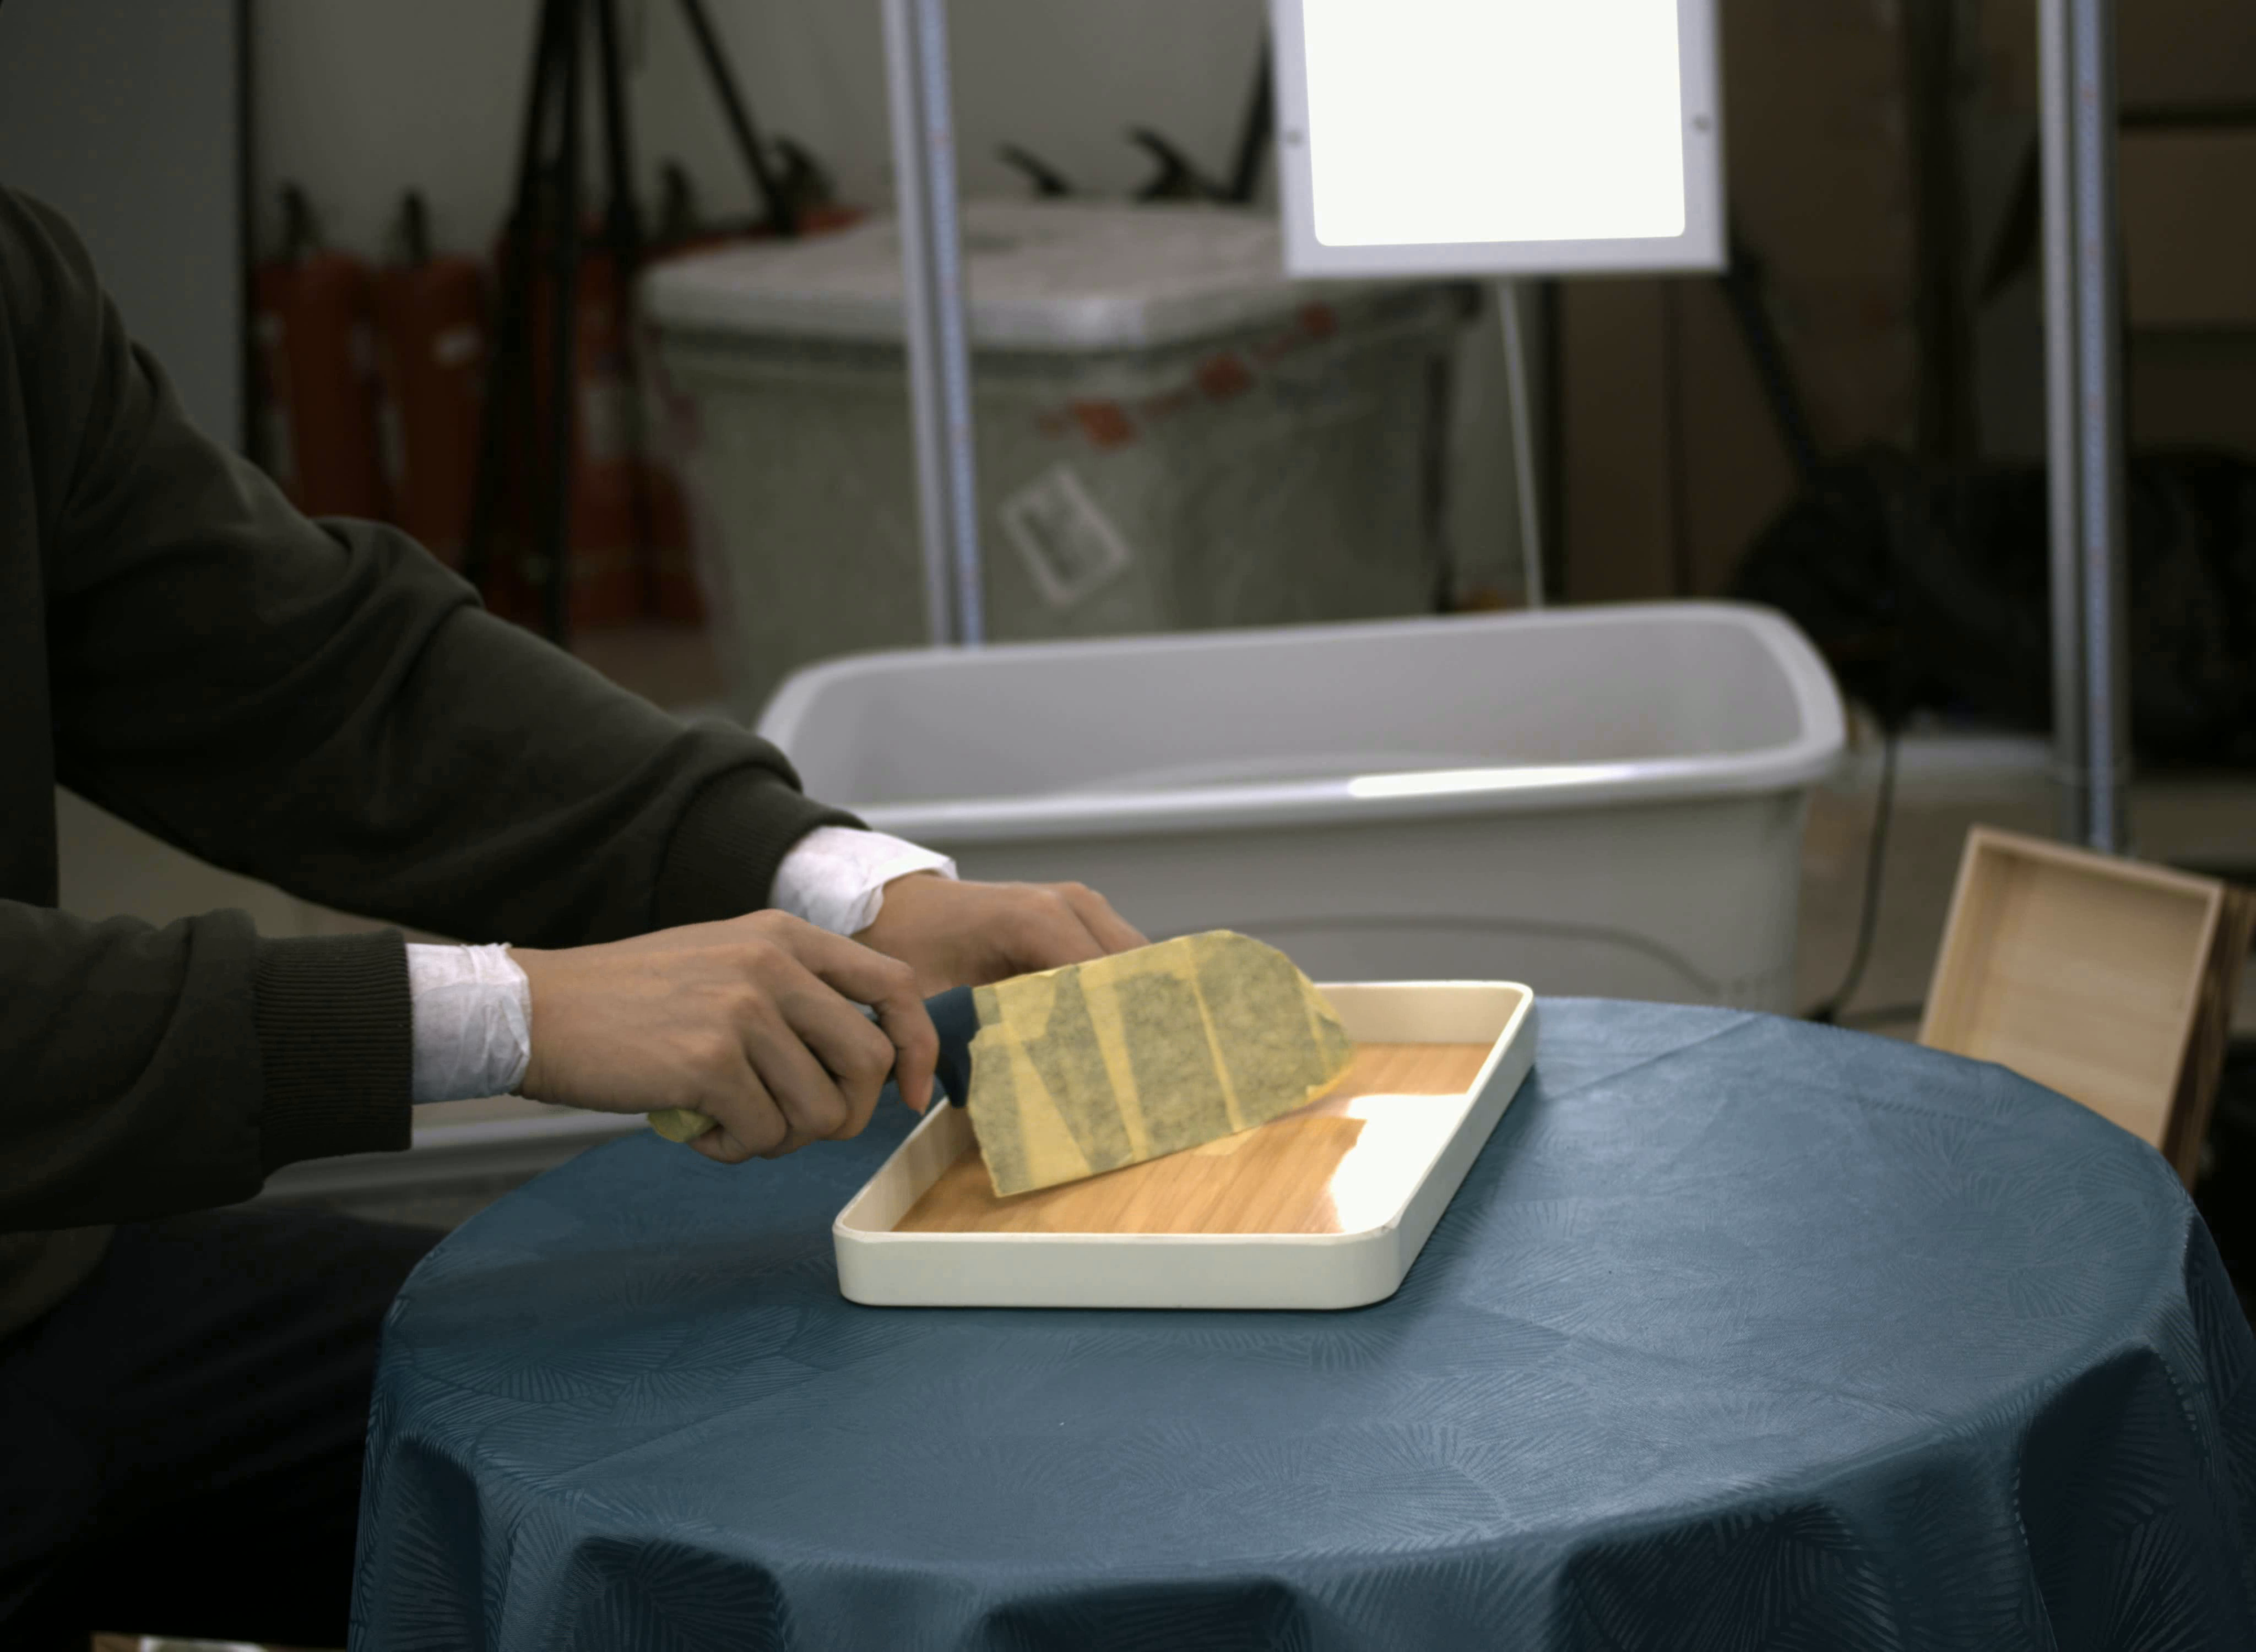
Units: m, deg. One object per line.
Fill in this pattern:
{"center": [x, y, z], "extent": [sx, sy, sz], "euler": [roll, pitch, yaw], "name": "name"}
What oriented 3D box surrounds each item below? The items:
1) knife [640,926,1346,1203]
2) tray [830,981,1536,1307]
{"center": [-0.039, 0.088, 1.894], "extent": [0.282, 0.081, 0.028], "euler": [-10, -10, -32], "name": "knife"}
{"center": [0.026, 0.108, 1.915], "extent": [0.193, 0.027, 0.296], "euler": [-2, 14, 16], "name": "tray"}
